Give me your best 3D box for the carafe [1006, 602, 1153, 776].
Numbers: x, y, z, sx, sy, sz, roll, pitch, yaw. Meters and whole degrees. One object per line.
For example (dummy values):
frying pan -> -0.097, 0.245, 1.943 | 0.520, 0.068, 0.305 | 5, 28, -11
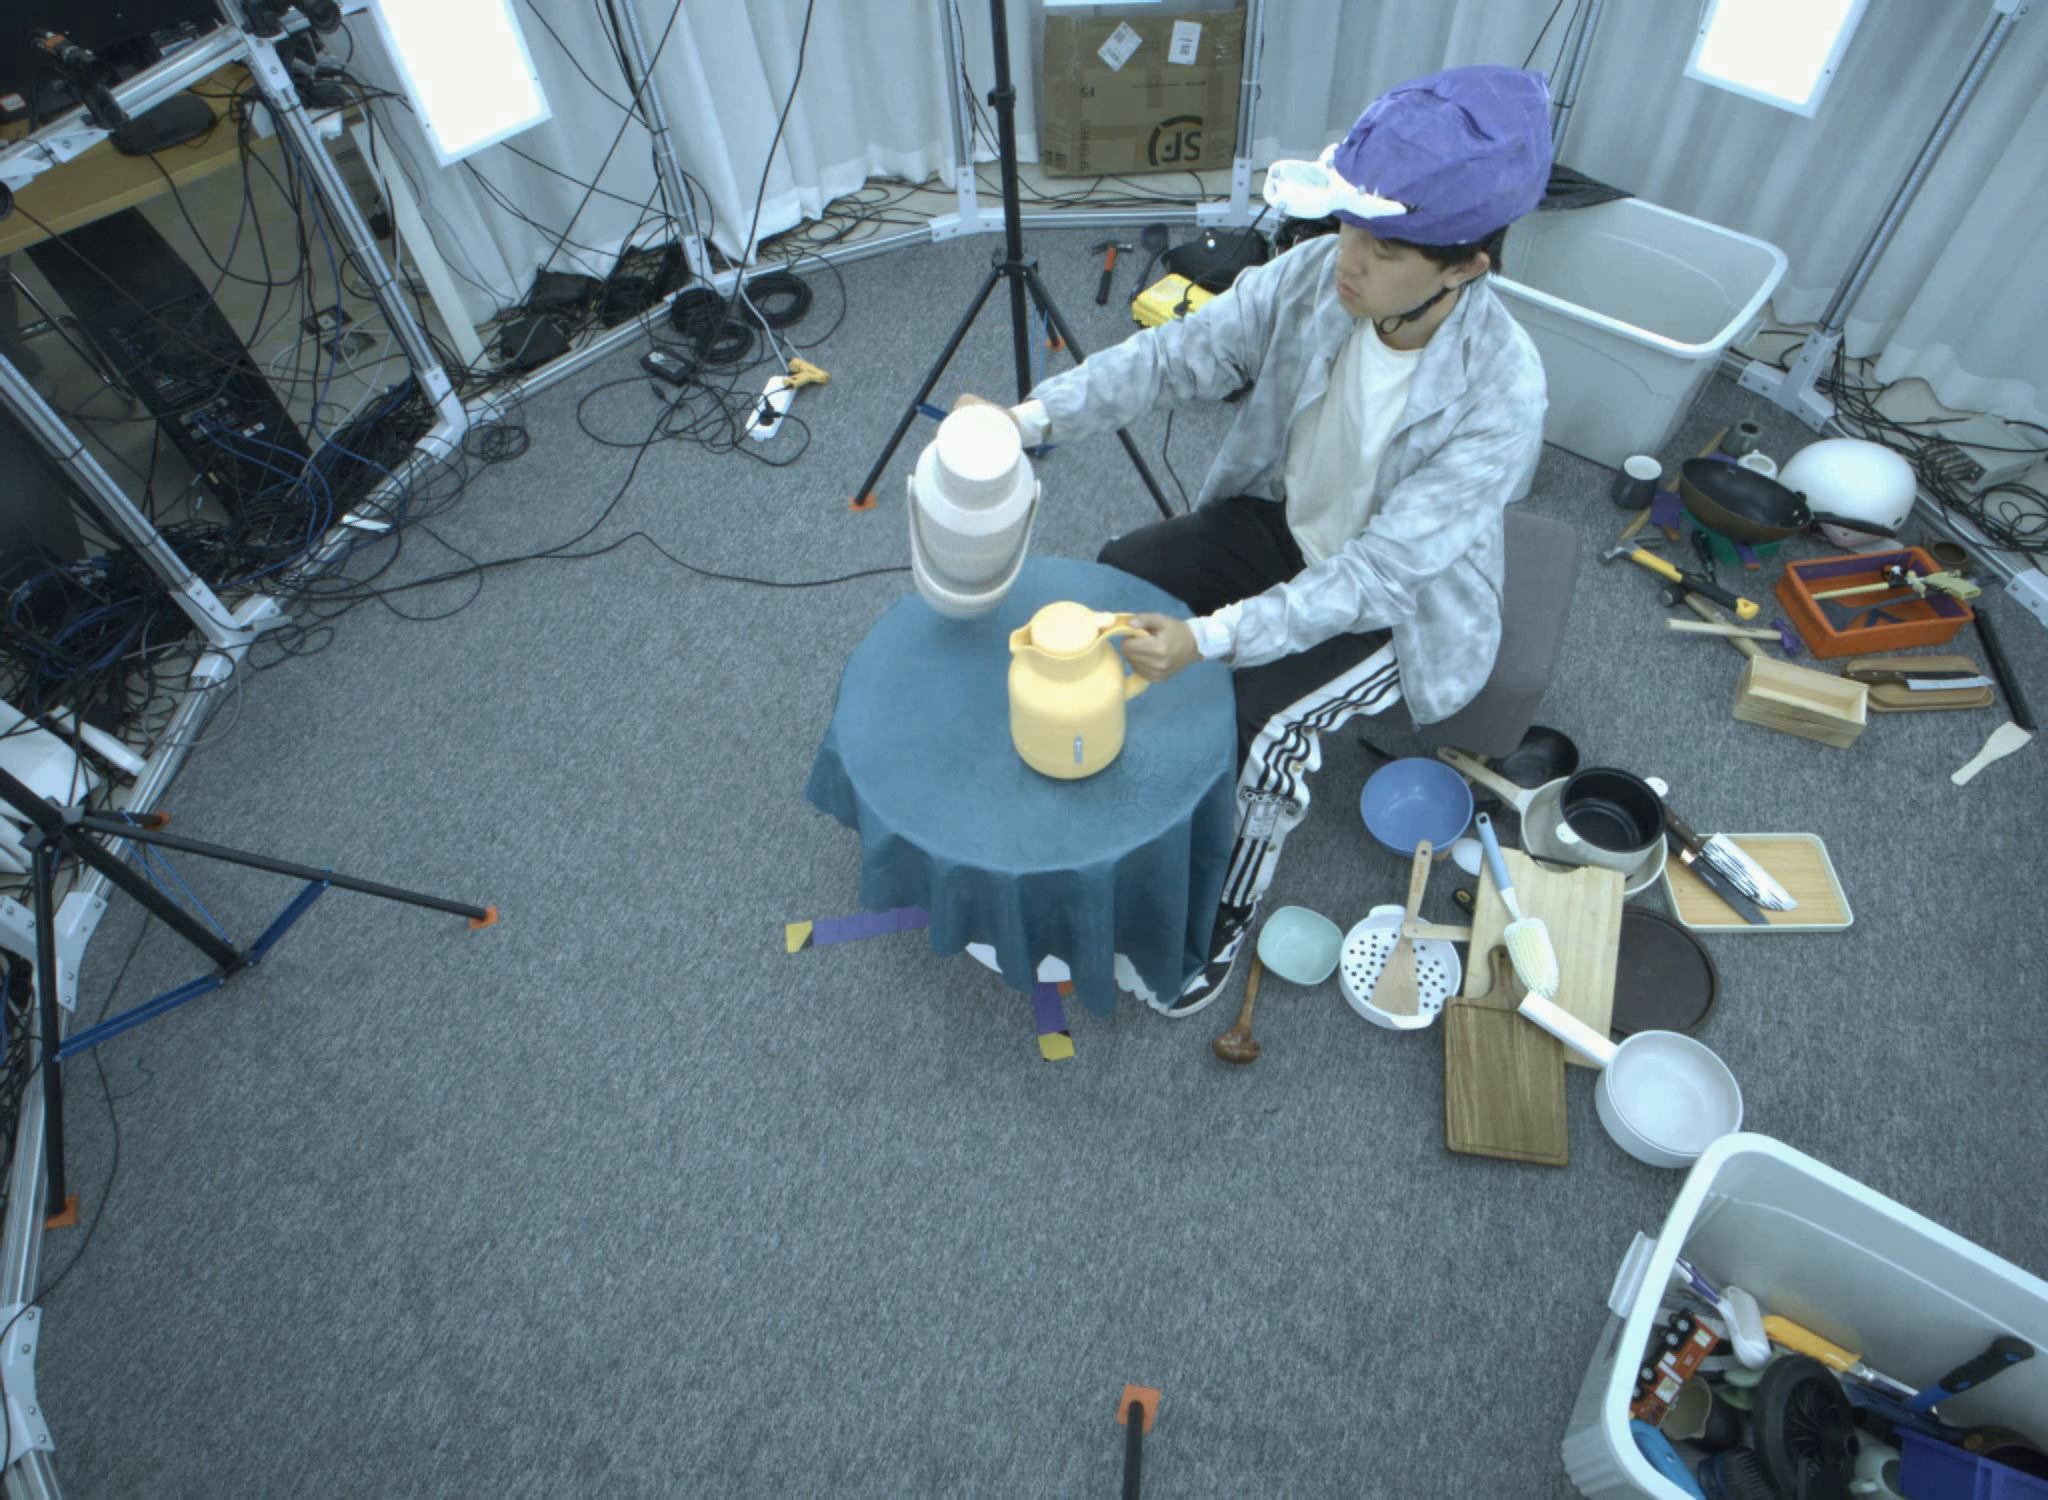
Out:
carafe -> 0.077, -0.092, 1.691 | 0.203, 0.263, 0.161 | -11, 57, -3

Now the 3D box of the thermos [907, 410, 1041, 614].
thermos -> -0.072, -0.341, 1.681 | 0.176, 0.406, 0.206 | 1, 77, -4
